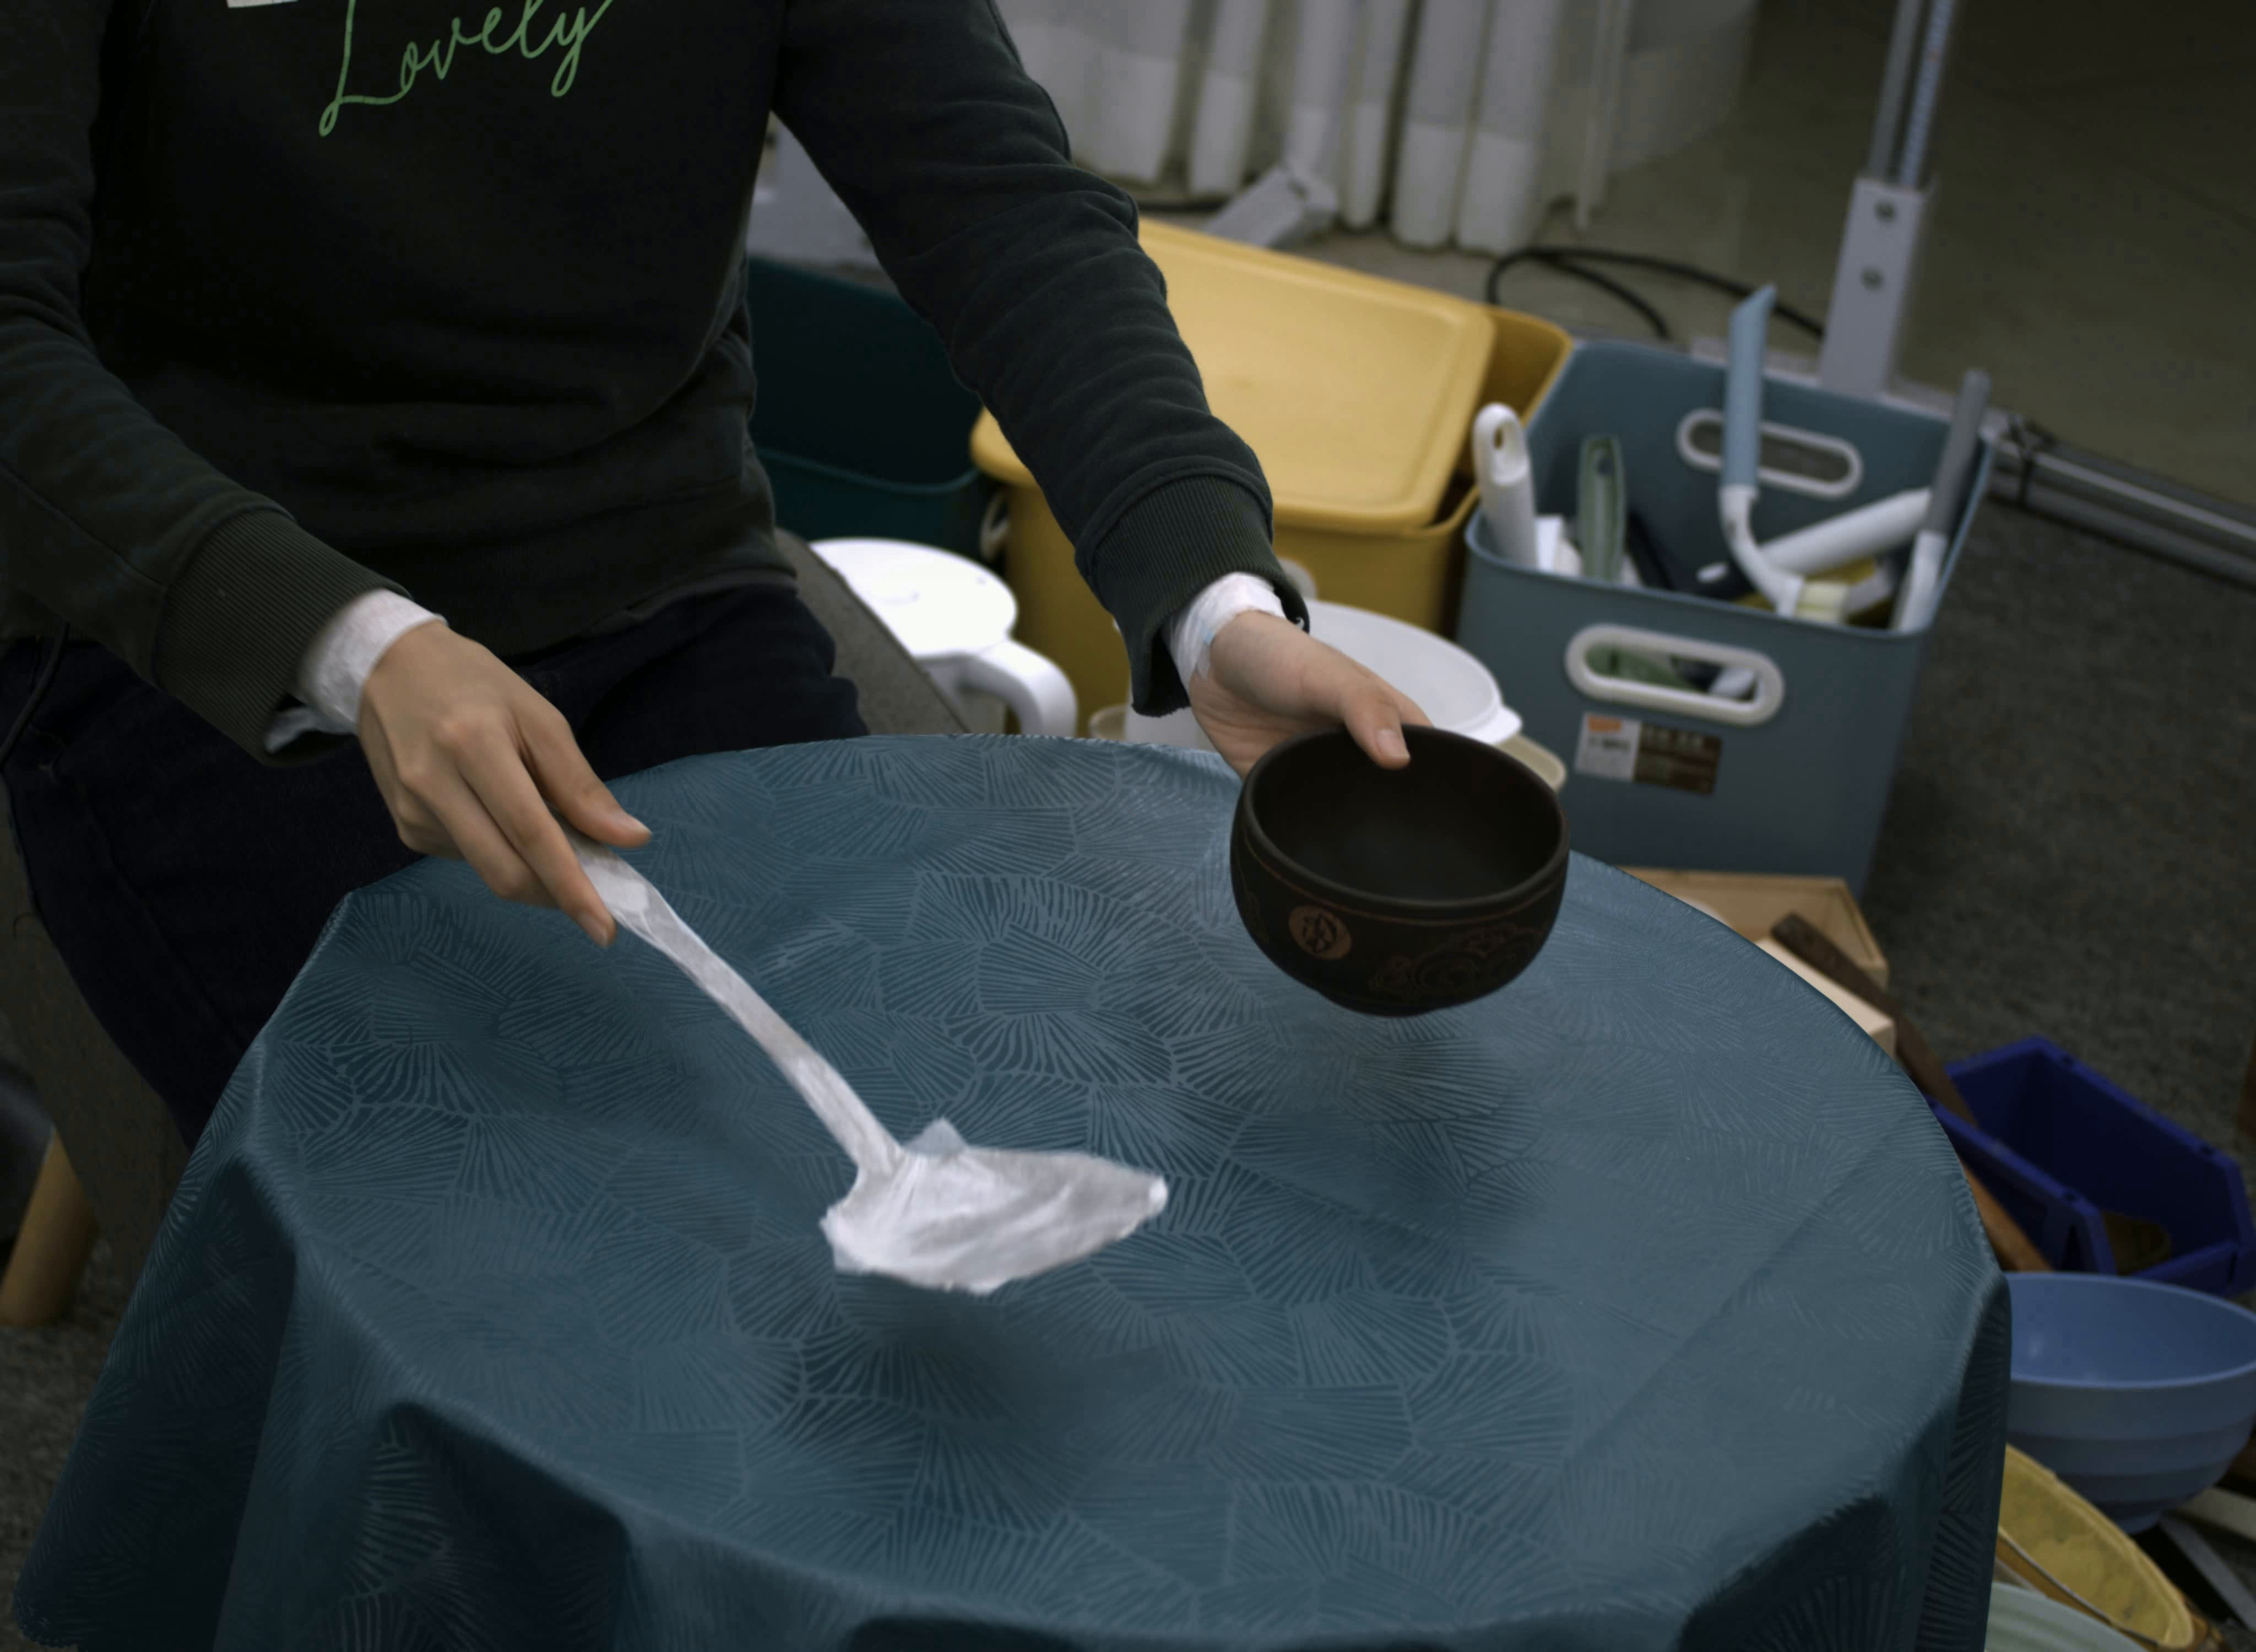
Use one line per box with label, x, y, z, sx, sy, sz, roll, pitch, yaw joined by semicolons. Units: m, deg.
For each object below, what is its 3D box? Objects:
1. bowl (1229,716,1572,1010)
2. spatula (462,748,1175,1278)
bowl;0.092;0.020;1.852;0.117;0.069;0.119;5;32;-3
spatula;-0.125;0.051;1.757;0.098;0.044;0.368;-22;44;-31
